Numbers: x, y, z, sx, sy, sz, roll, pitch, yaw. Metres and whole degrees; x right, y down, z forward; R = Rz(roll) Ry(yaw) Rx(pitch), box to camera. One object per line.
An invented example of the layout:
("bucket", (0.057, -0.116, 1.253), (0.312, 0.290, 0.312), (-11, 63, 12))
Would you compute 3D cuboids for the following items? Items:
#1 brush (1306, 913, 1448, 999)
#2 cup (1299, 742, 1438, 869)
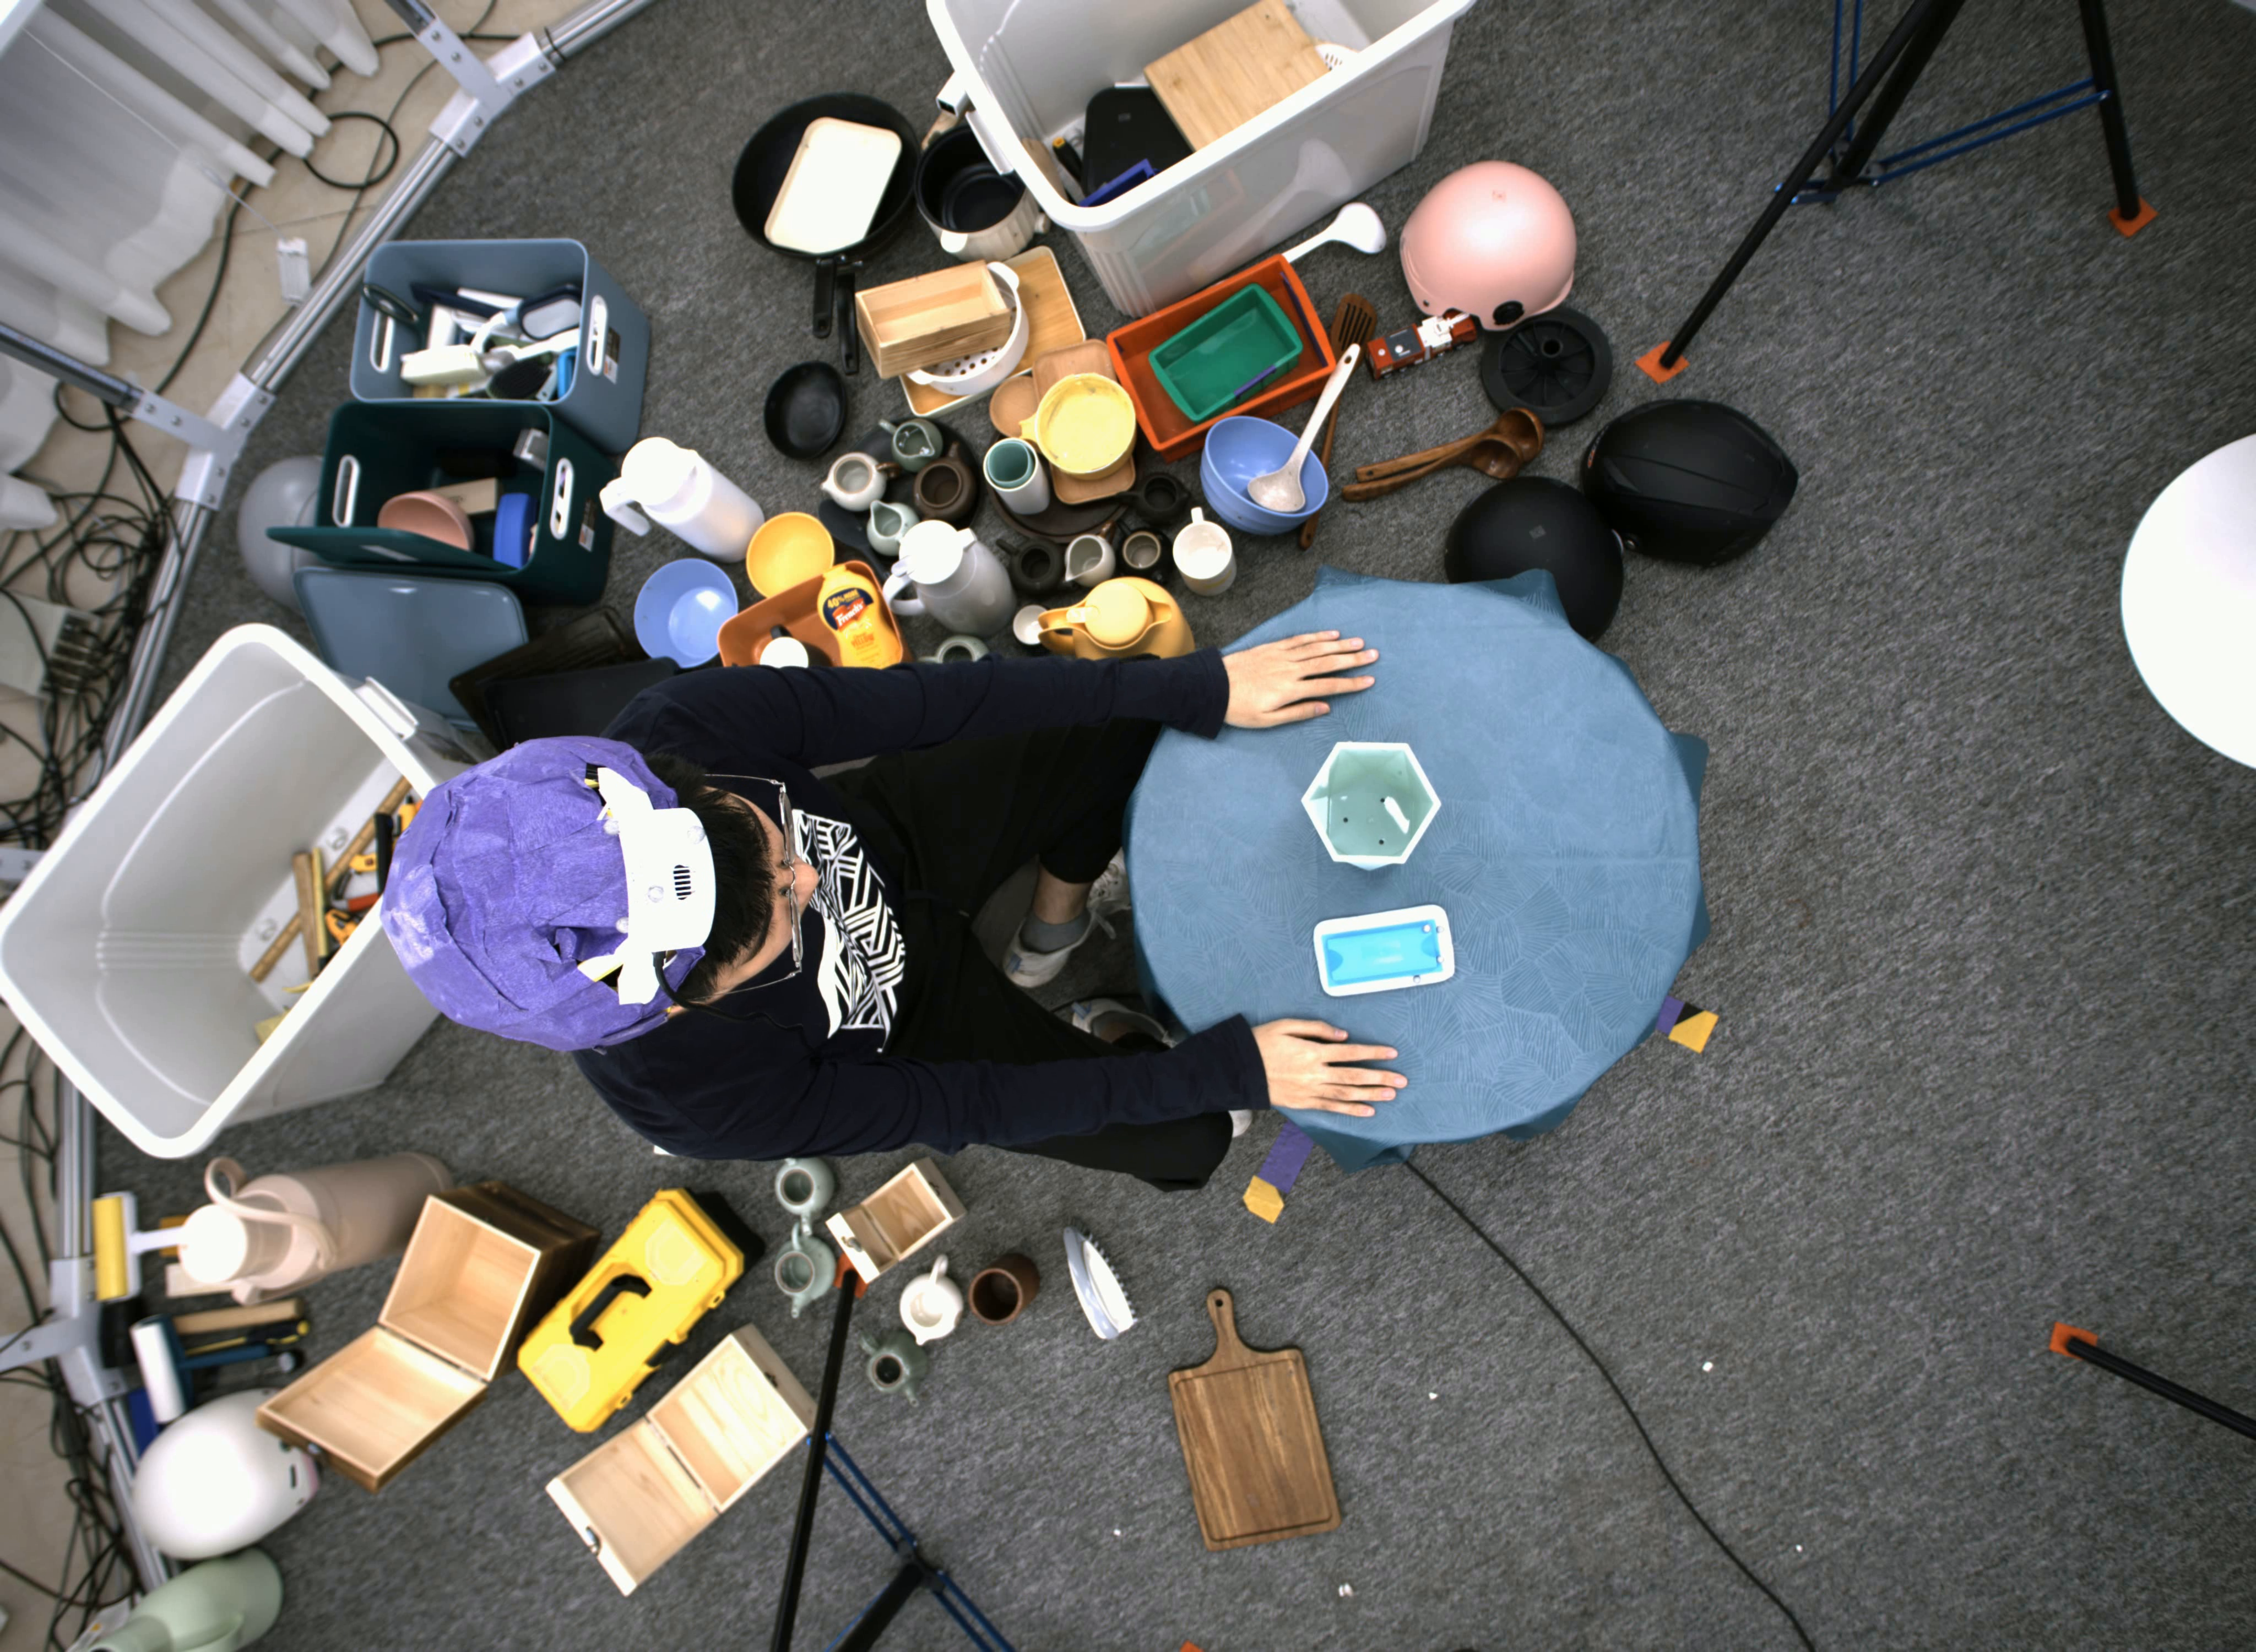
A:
("brush", (0.257, 0.130, 1.427), (0.144, 0.056, 0.083), (-7, 82, 7))
("cup", (0.243, -0.017, 1.386), (0.116, 0.163, 0.130), (-29, 81, 8))
